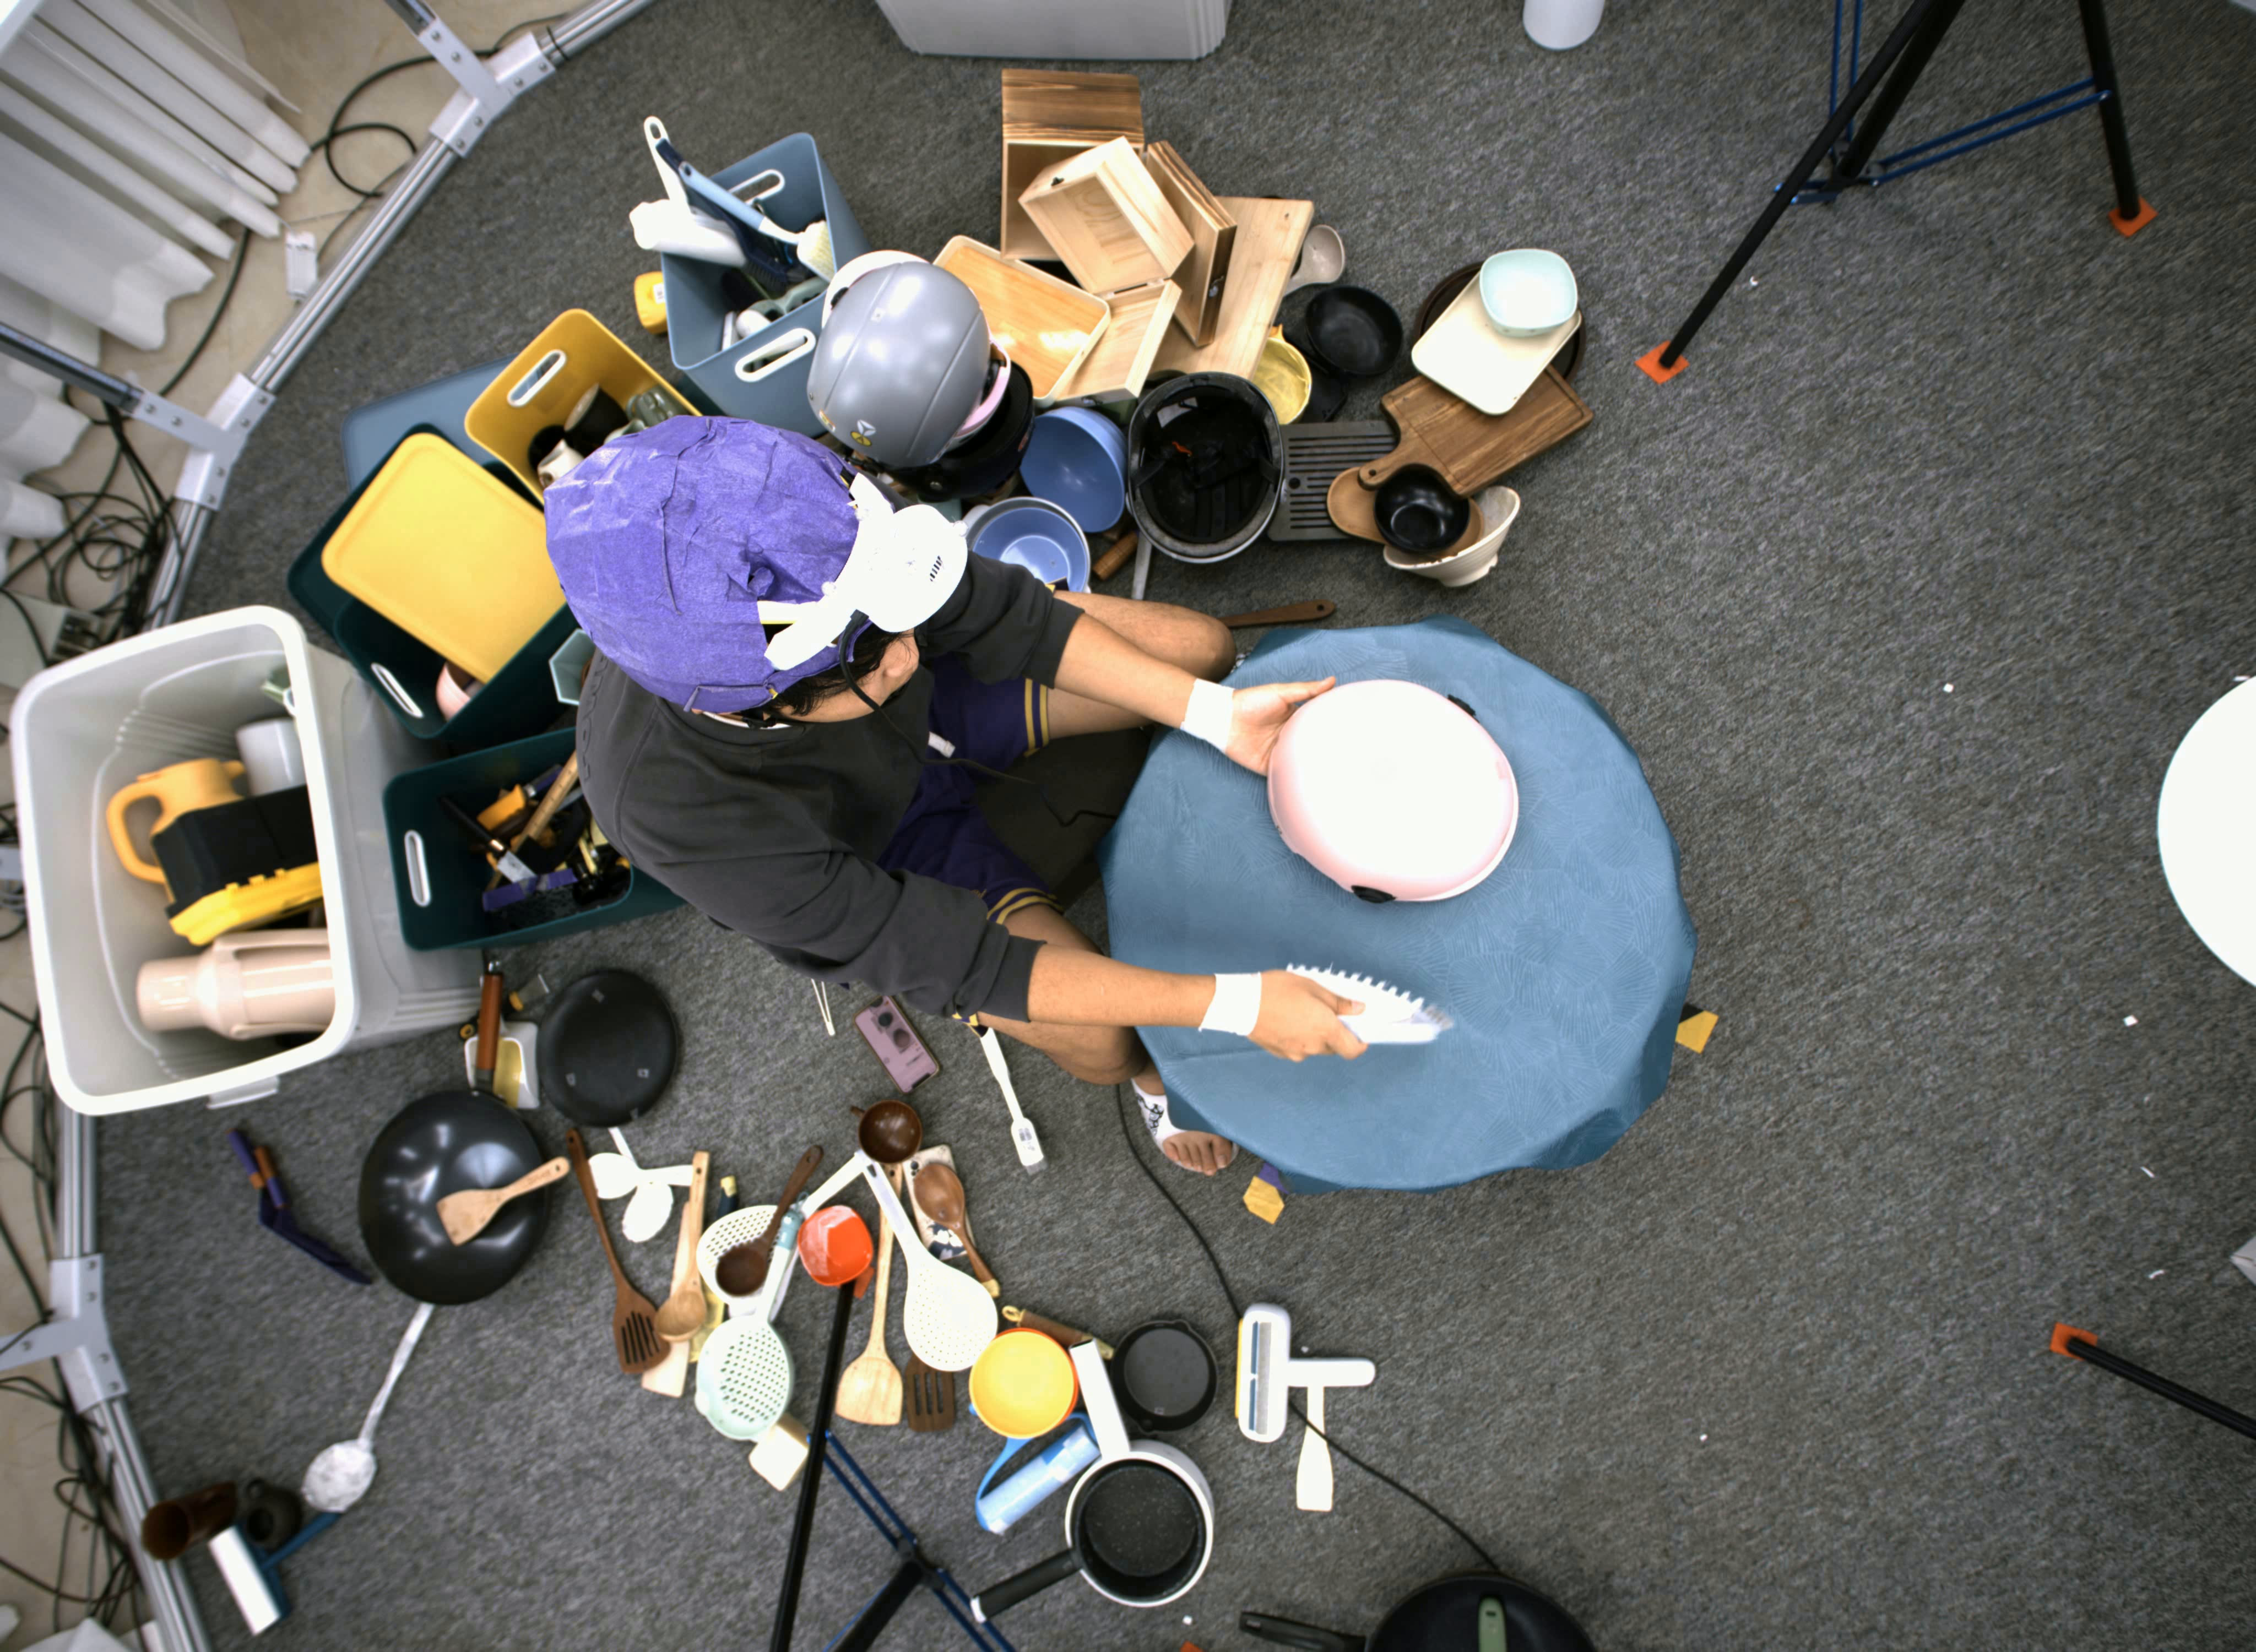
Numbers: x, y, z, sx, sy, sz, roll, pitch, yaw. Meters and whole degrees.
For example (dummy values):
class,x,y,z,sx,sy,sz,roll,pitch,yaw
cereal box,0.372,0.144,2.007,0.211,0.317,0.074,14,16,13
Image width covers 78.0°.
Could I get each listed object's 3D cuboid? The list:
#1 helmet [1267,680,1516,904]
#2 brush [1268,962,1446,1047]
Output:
class,x,y,z,sx,sy,sz,roll,pitch,yaw
helmet,0.272,-0.041,1.388,0.266,0.159,0.234,25,90,5
brush,0.222,0.186,1.361,0.176,0.093,0.062,13,106,15
